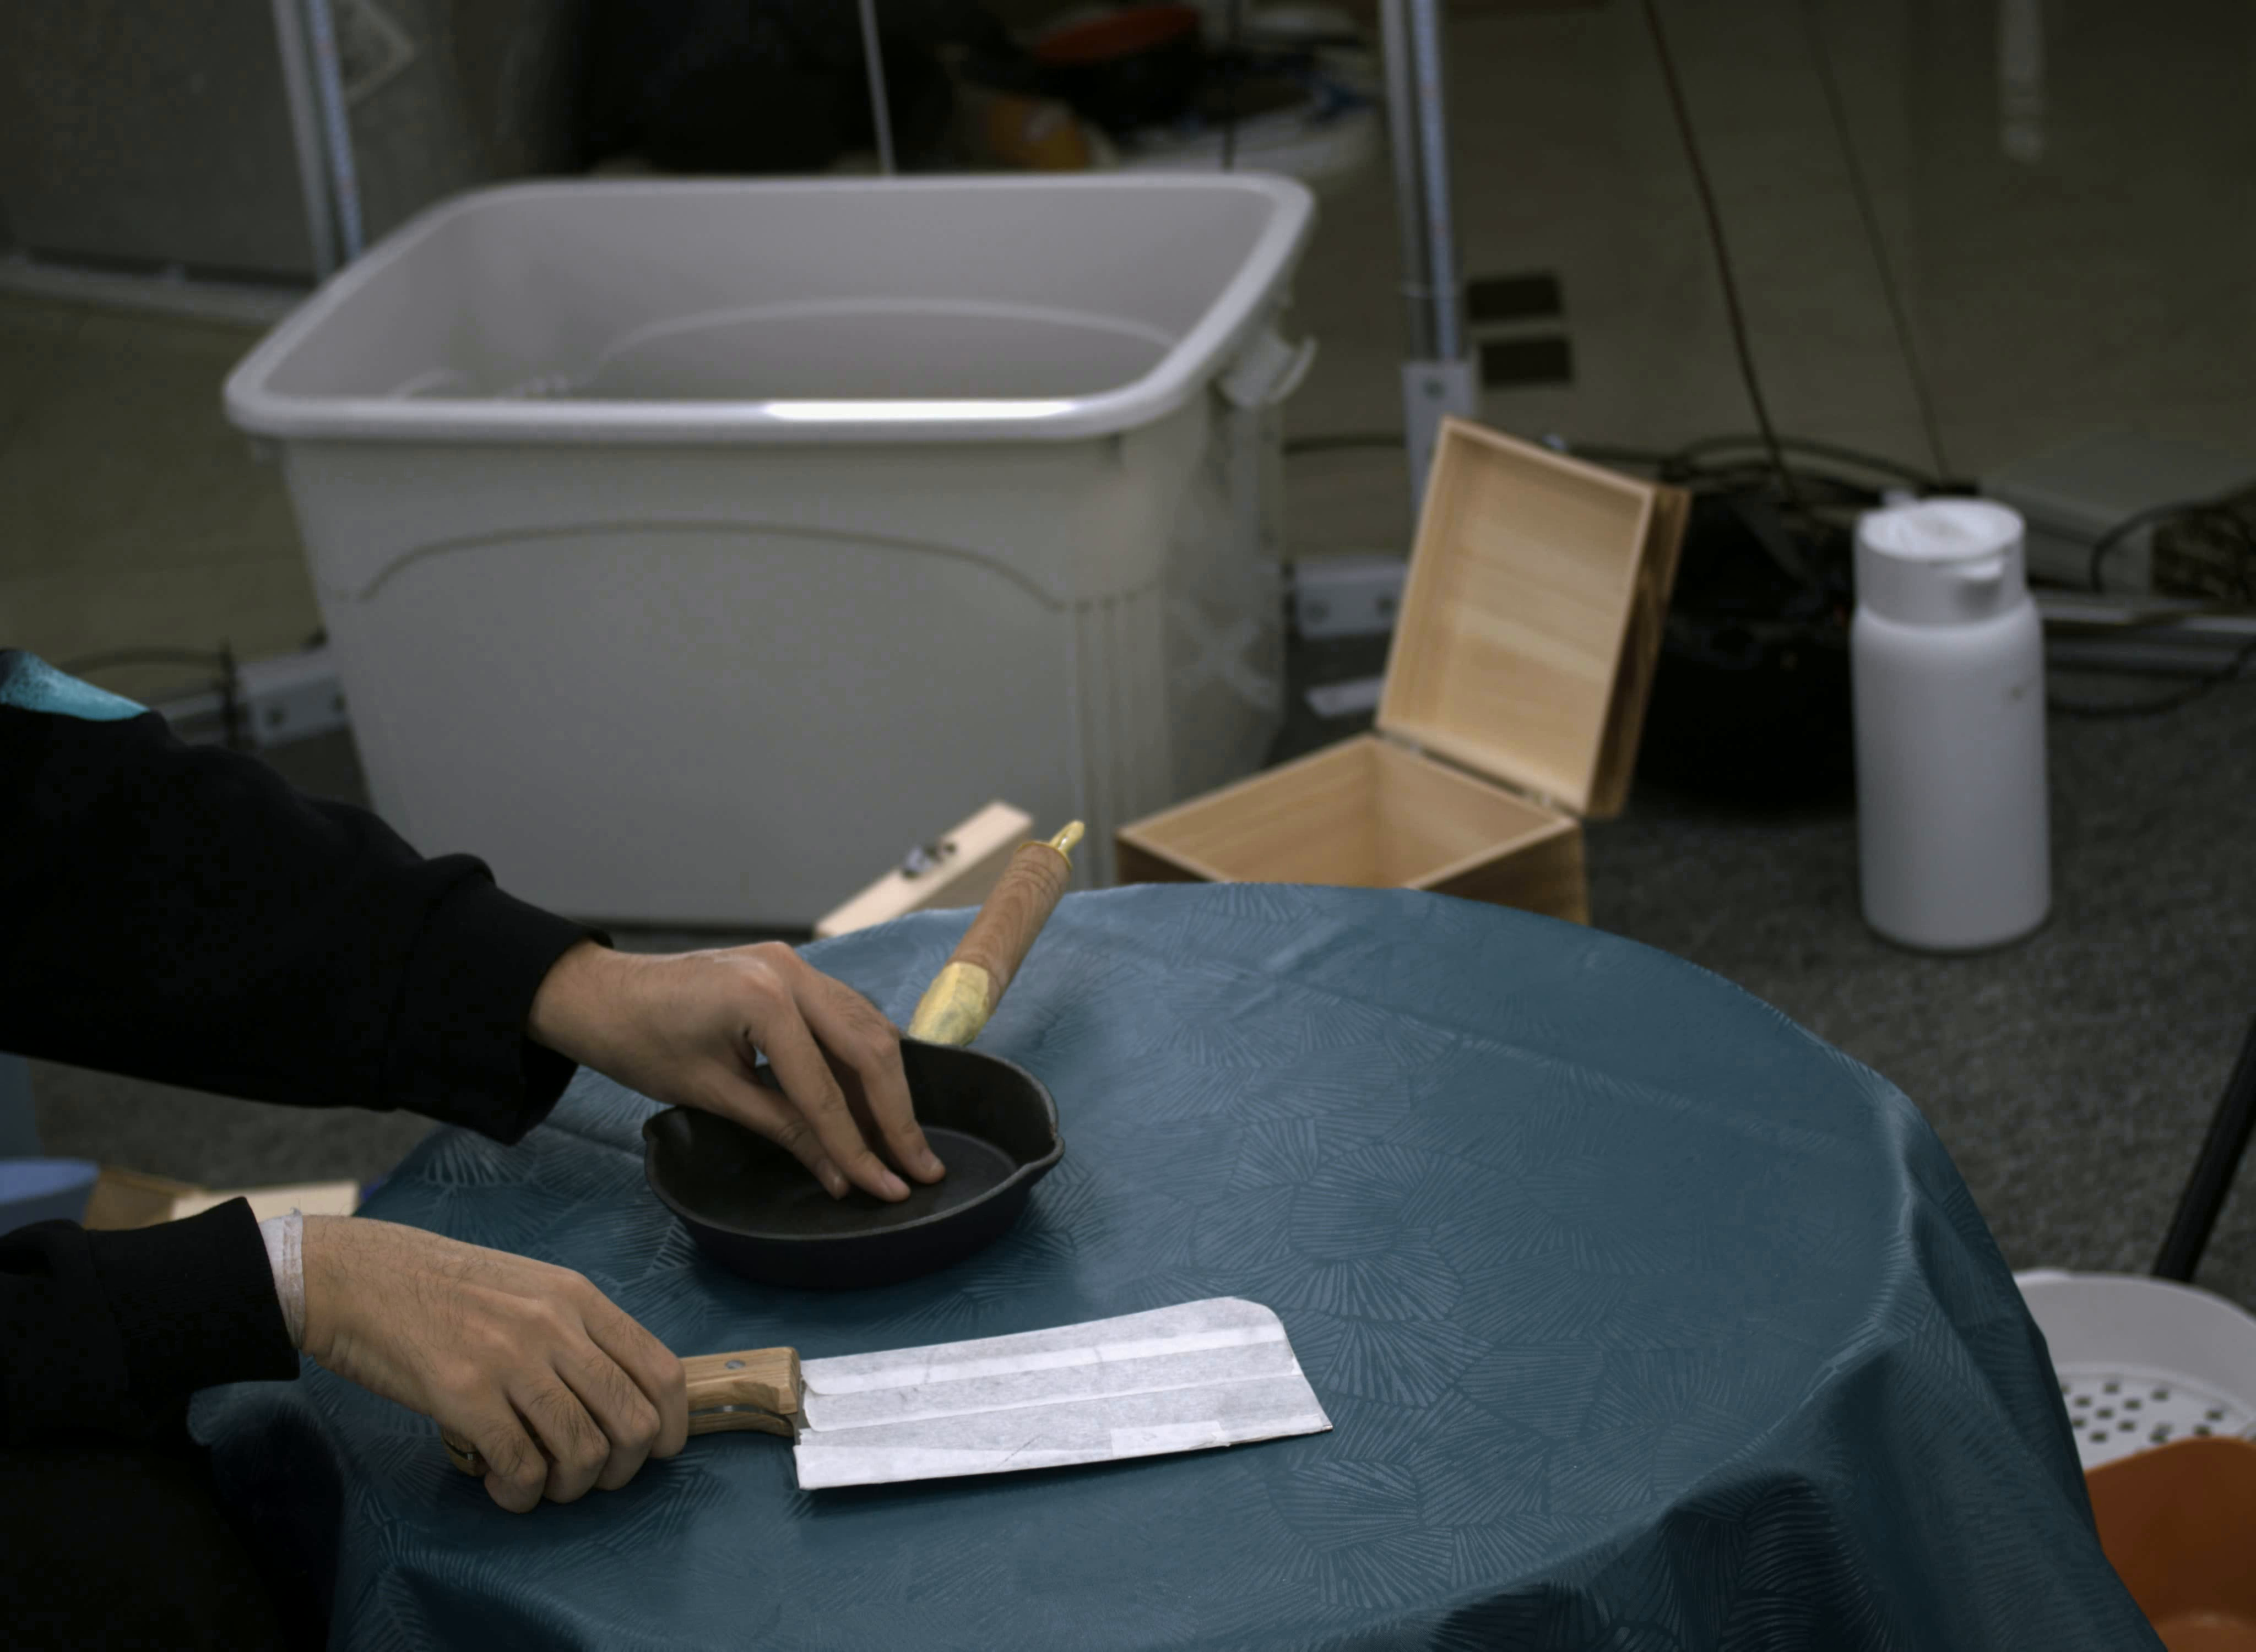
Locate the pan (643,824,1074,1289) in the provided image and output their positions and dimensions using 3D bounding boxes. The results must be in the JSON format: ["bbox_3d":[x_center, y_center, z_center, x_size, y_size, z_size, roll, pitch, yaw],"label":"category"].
[{"bbox_3d":[-0.076,0.088,2.215,0.168,0.050,0.319,2,27,21],"label":"pan"}]

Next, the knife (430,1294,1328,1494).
[{"bbox_3d":[-0.089,0.204,2.008,0.315,0.022,0.112,-5,25,-3],"label":"knife"}]
